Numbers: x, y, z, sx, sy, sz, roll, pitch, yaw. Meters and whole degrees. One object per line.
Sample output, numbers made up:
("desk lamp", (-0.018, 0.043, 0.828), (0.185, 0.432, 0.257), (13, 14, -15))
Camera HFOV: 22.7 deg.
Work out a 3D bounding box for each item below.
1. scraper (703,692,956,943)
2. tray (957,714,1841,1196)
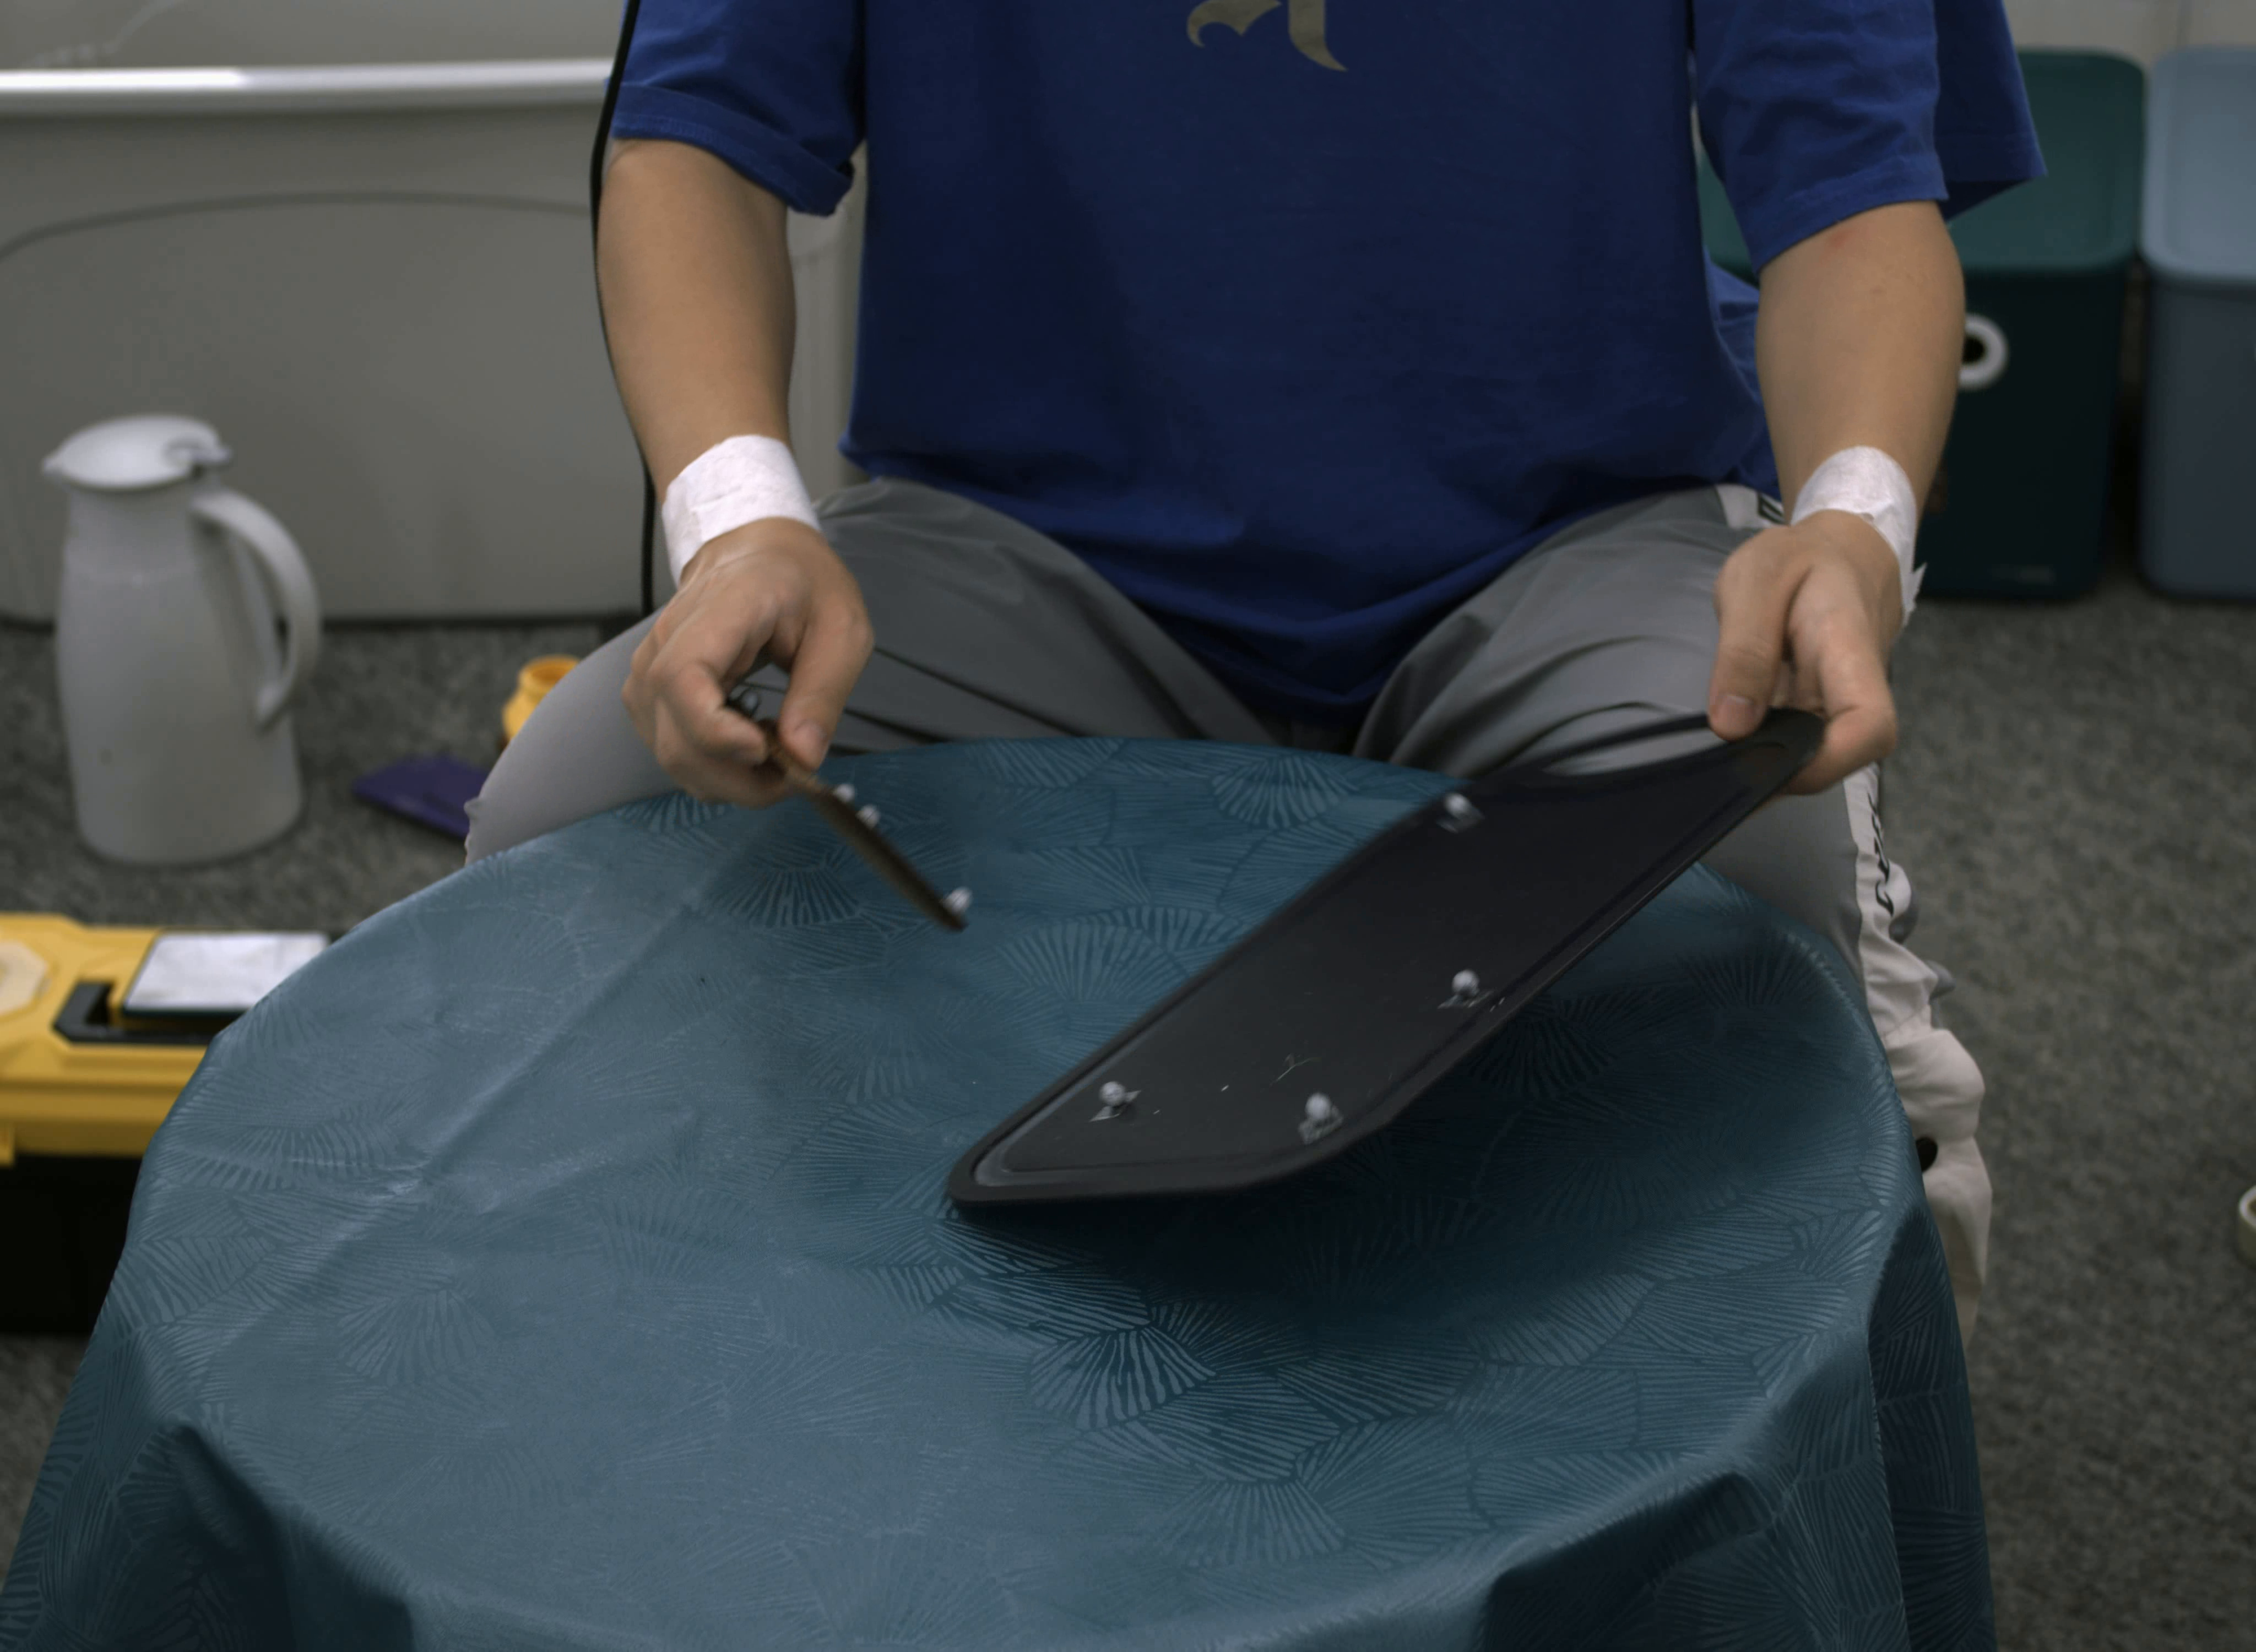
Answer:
("scraper", (-0.114, -0.010, 1.960), (0.011, 0.075, 0.212), (-44, 25, -2))
("tray", (0.096, 0.038, 1.888), (0.330, 0.010, 0.208), (-35, 16, -37))
